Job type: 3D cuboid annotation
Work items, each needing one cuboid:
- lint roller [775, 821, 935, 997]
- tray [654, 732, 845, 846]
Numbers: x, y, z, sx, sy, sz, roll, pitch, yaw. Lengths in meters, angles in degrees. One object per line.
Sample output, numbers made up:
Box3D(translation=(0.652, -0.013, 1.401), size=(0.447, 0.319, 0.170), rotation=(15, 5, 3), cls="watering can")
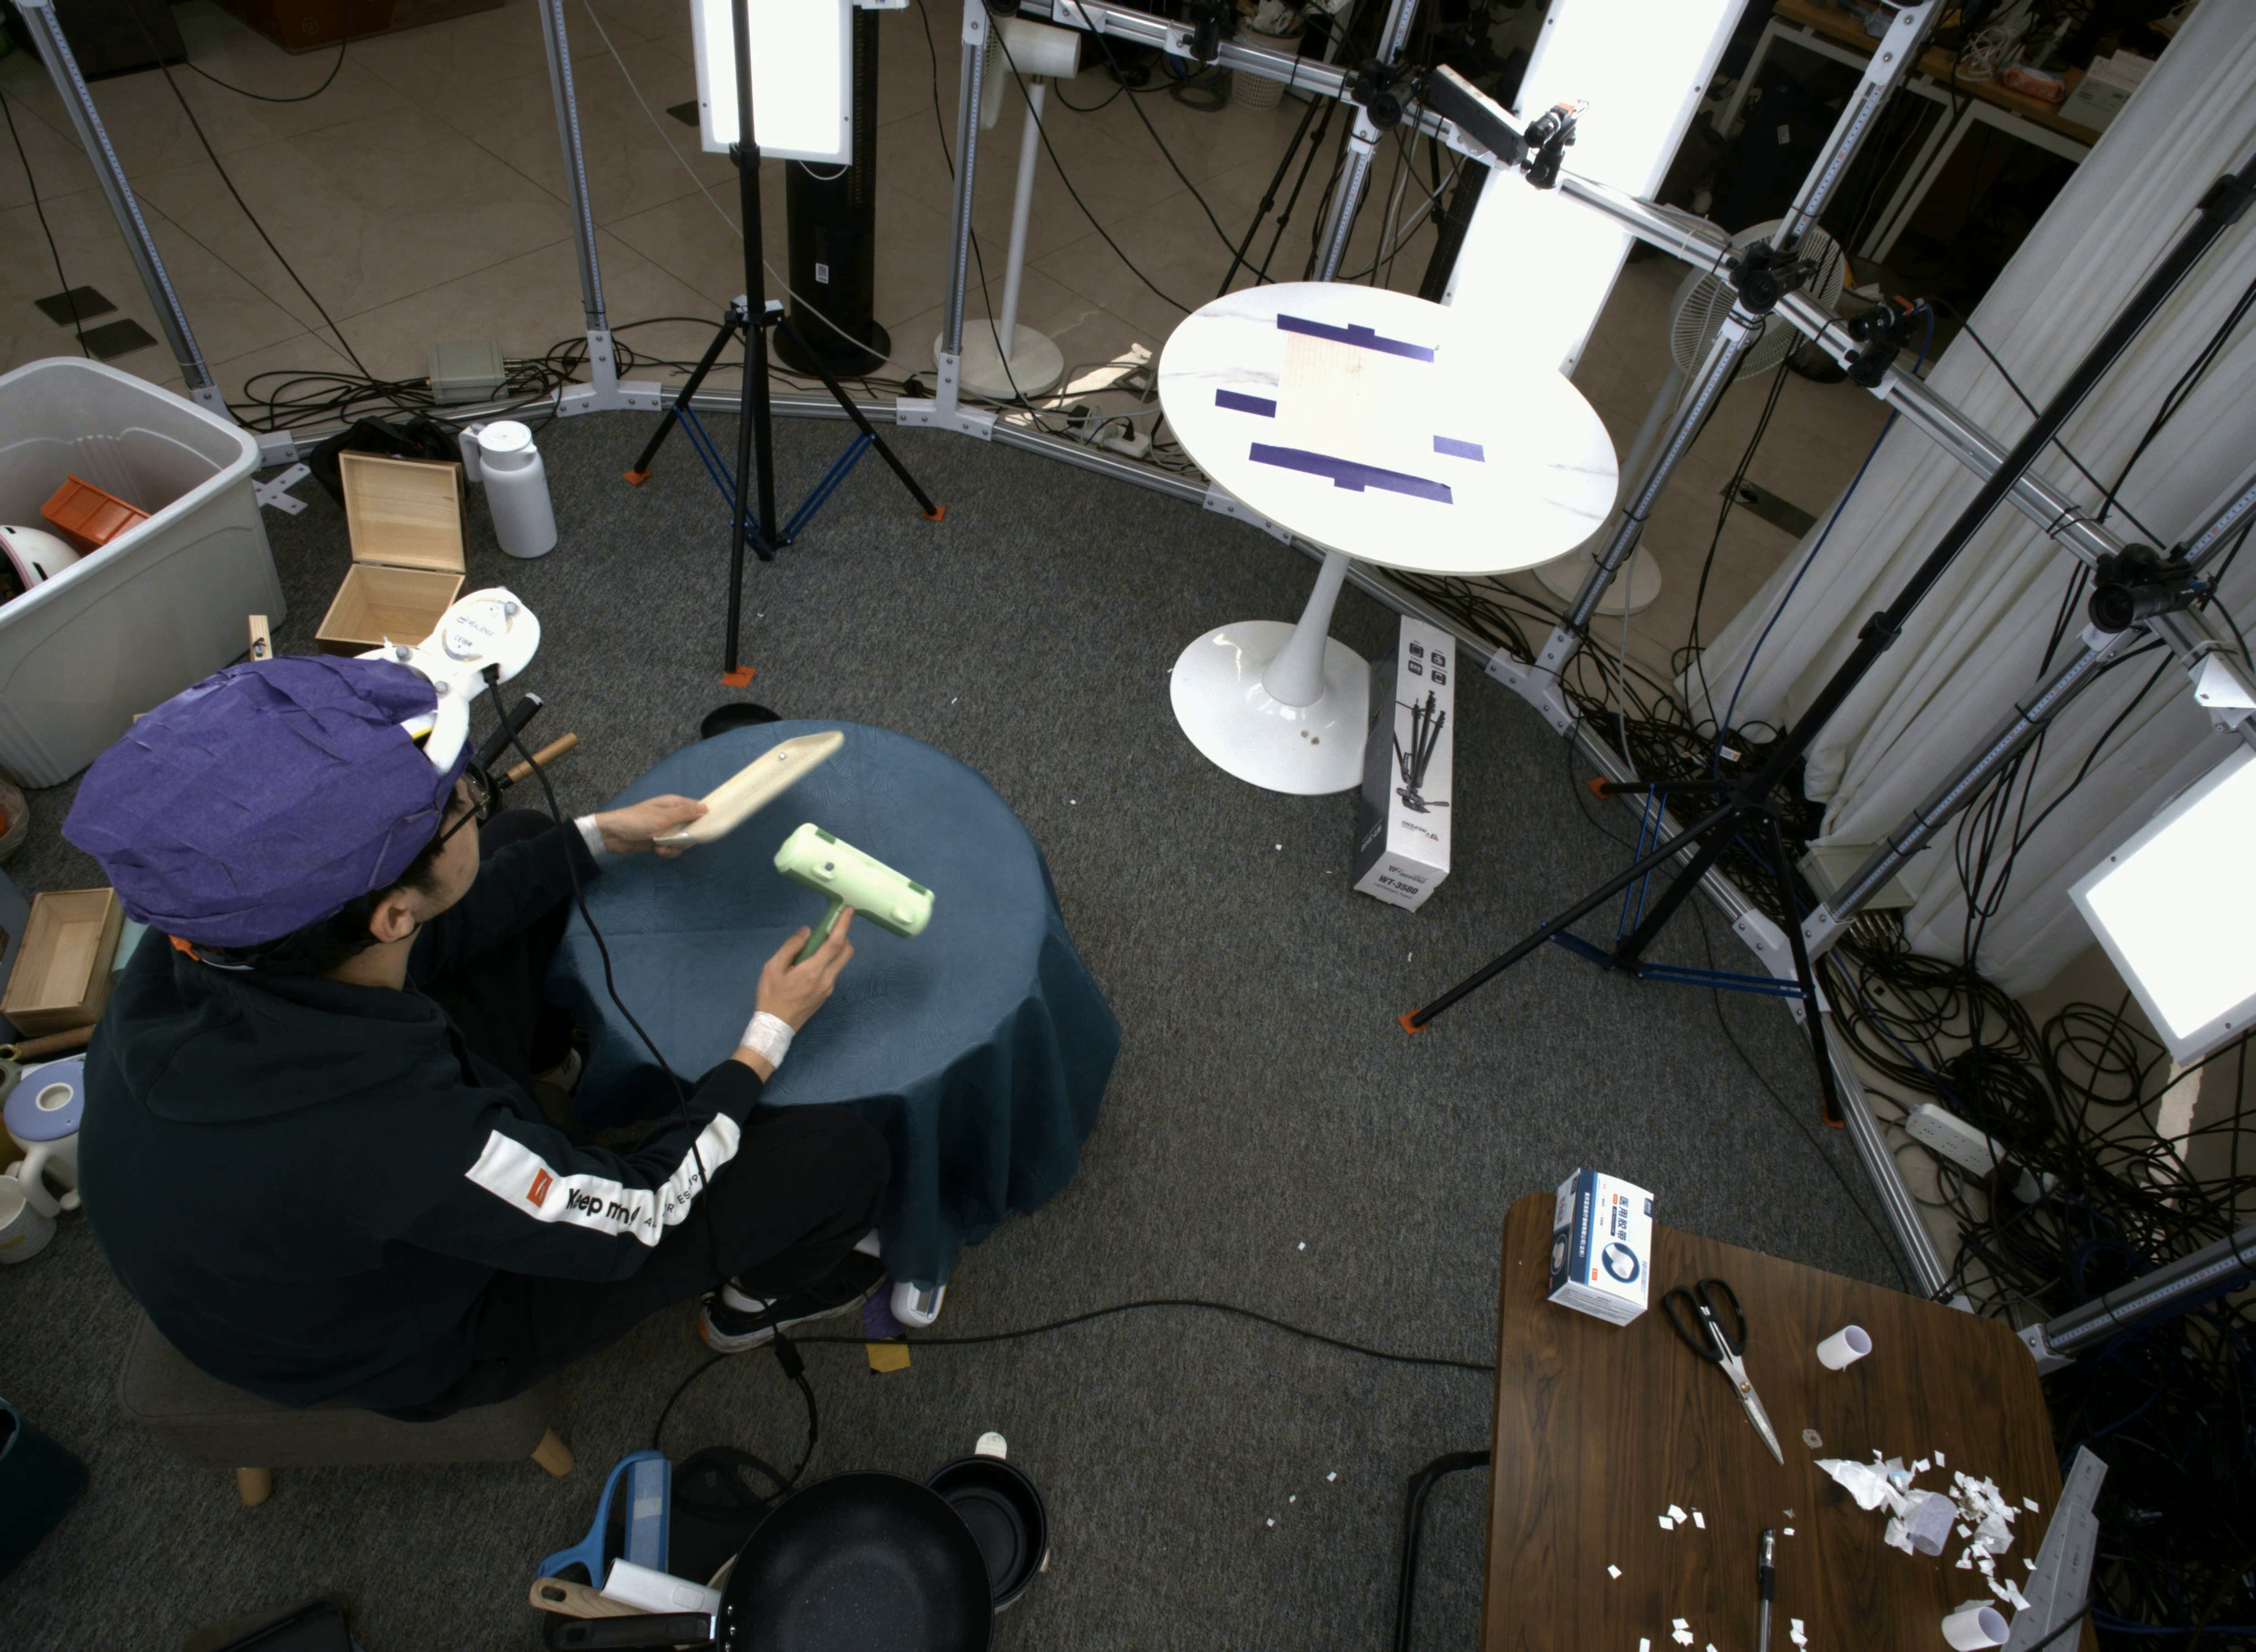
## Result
Box3D(translation=(-0.341, 0.118, 1.524), size=(0.205, 0.079, 0.183), rotation=(34, 73, -33), cls="lint roller")
Box3D(translation=(-0.471, -0.047, 1.614), size=(0.165, 0.018, 0.239), rotation=(0, 34, 44), cls="tray")
